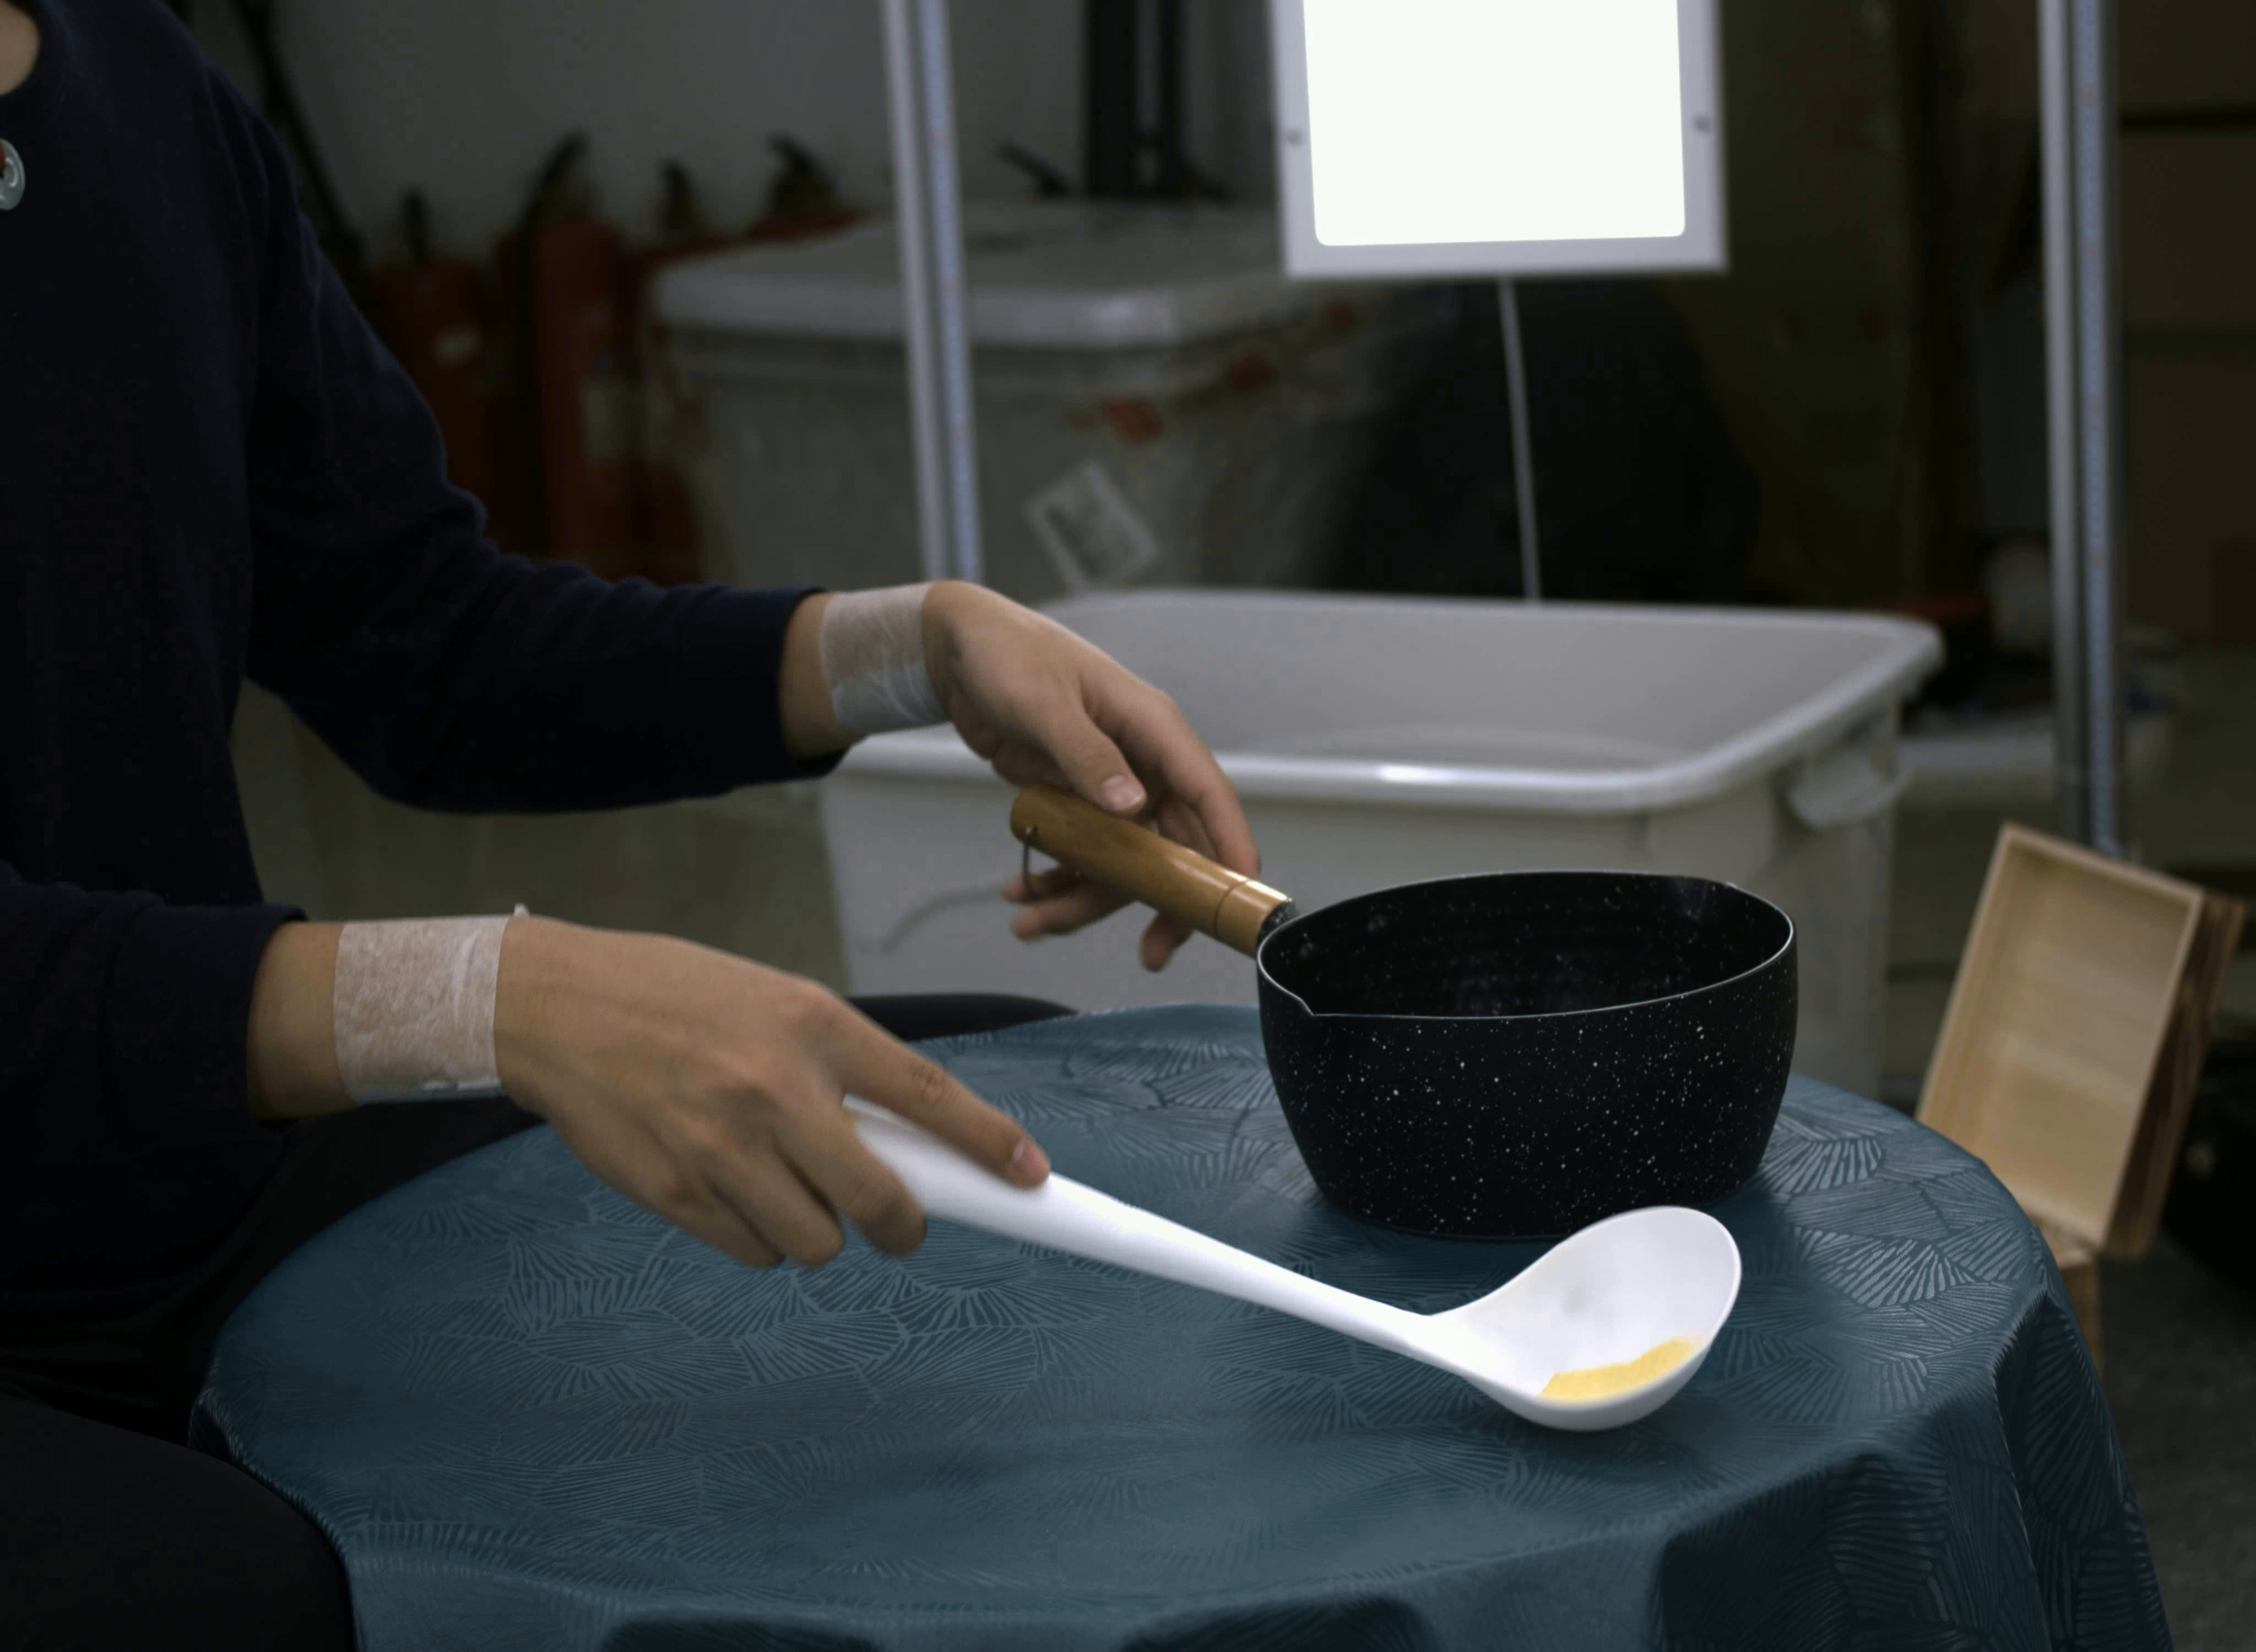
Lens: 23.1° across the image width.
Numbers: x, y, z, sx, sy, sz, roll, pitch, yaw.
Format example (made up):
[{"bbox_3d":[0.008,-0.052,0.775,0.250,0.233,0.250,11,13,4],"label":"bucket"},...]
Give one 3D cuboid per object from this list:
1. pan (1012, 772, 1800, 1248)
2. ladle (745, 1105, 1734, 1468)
[{"bbox_3d":[0.081,0.057,1.922,0.202,0.108,0.350,-19,21,-40],"label":"pan"},{"bbox_3d":[0.031,0.126,1.632,0.293,0.070,0.089,16,51,4],"label":"ladle"}]
